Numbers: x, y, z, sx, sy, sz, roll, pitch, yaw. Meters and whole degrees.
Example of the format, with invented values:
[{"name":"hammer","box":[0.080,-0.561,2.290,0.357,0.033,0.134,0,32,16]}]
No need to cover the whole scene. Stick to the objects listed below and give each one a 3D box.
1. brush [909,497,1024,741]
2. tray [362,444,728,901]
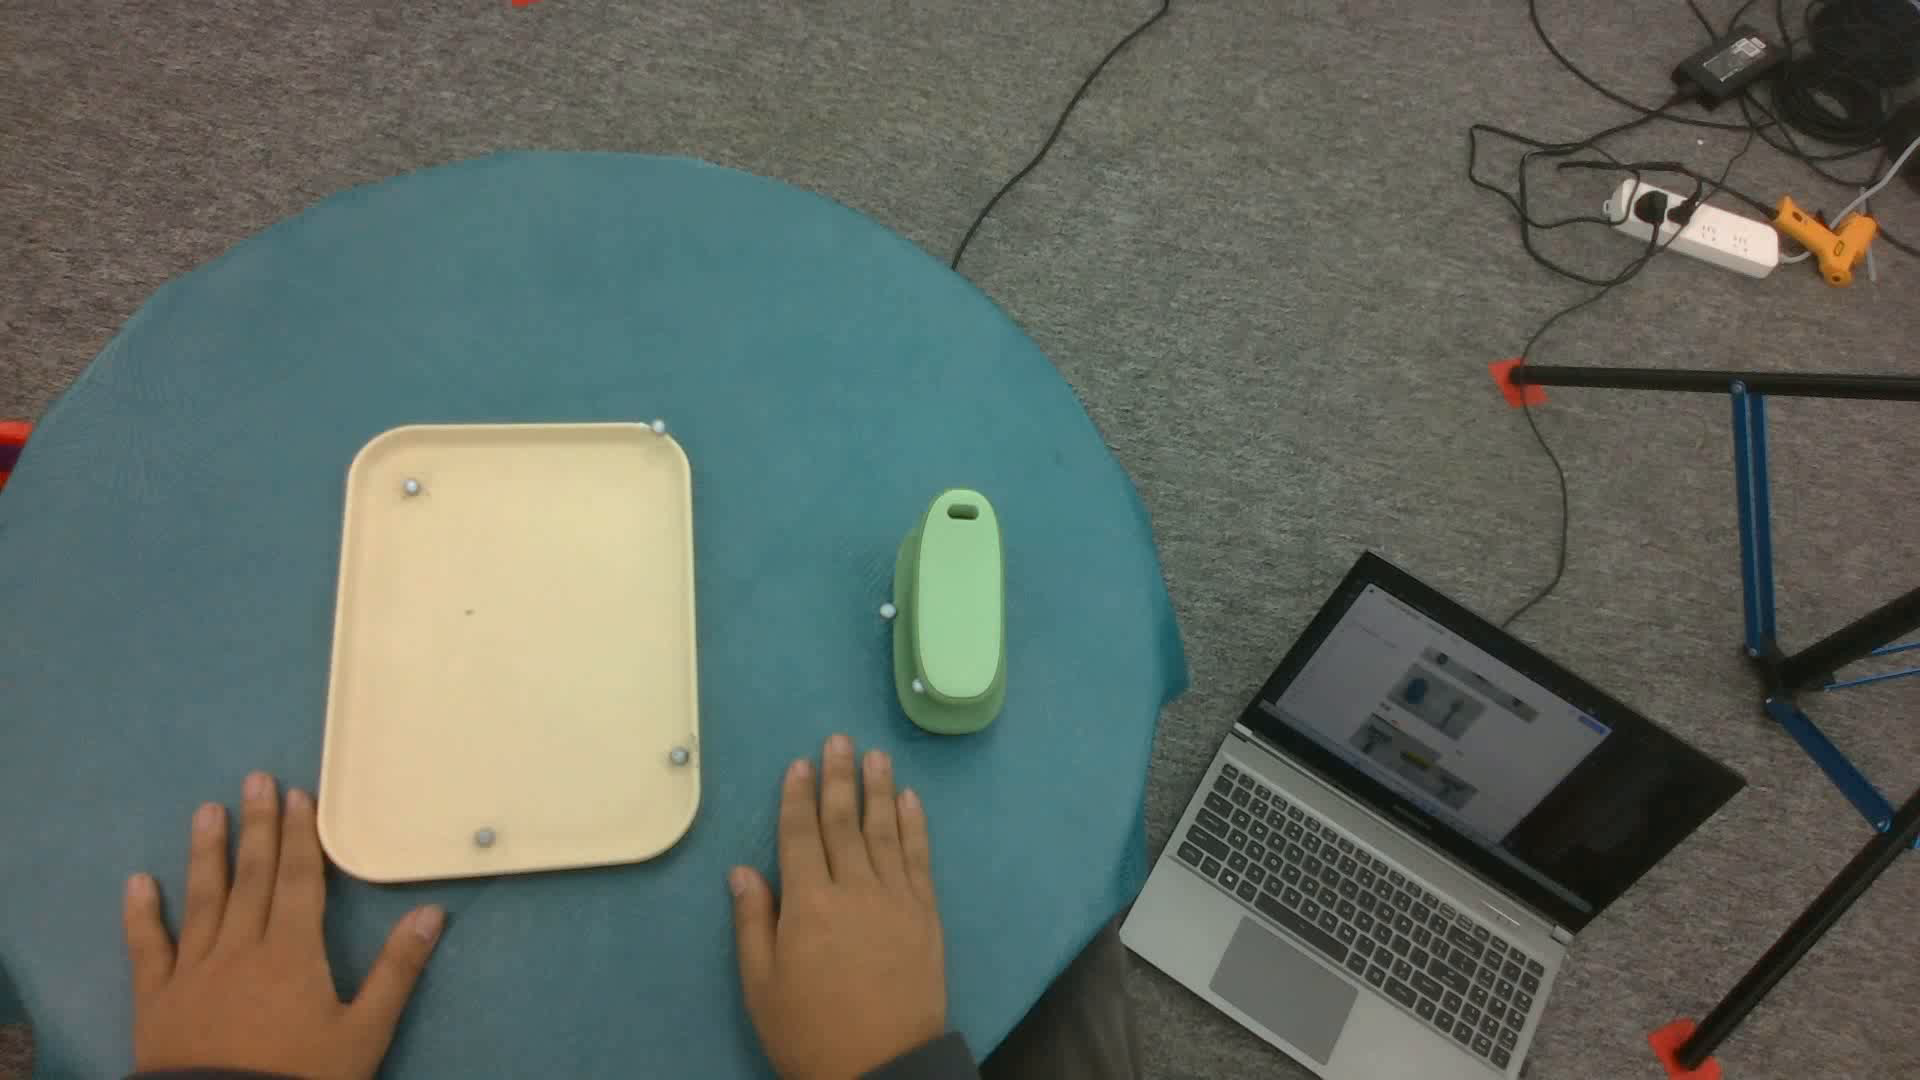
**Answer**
[{"name":"brush","box":[0.004,0.045,0.727,0.059,0.075,0.123,-1,77,-8]},{"name":"tray","box":[-0.211,0.060,0.705,0.171,0.017,0.240,-4,63,-10]}]
